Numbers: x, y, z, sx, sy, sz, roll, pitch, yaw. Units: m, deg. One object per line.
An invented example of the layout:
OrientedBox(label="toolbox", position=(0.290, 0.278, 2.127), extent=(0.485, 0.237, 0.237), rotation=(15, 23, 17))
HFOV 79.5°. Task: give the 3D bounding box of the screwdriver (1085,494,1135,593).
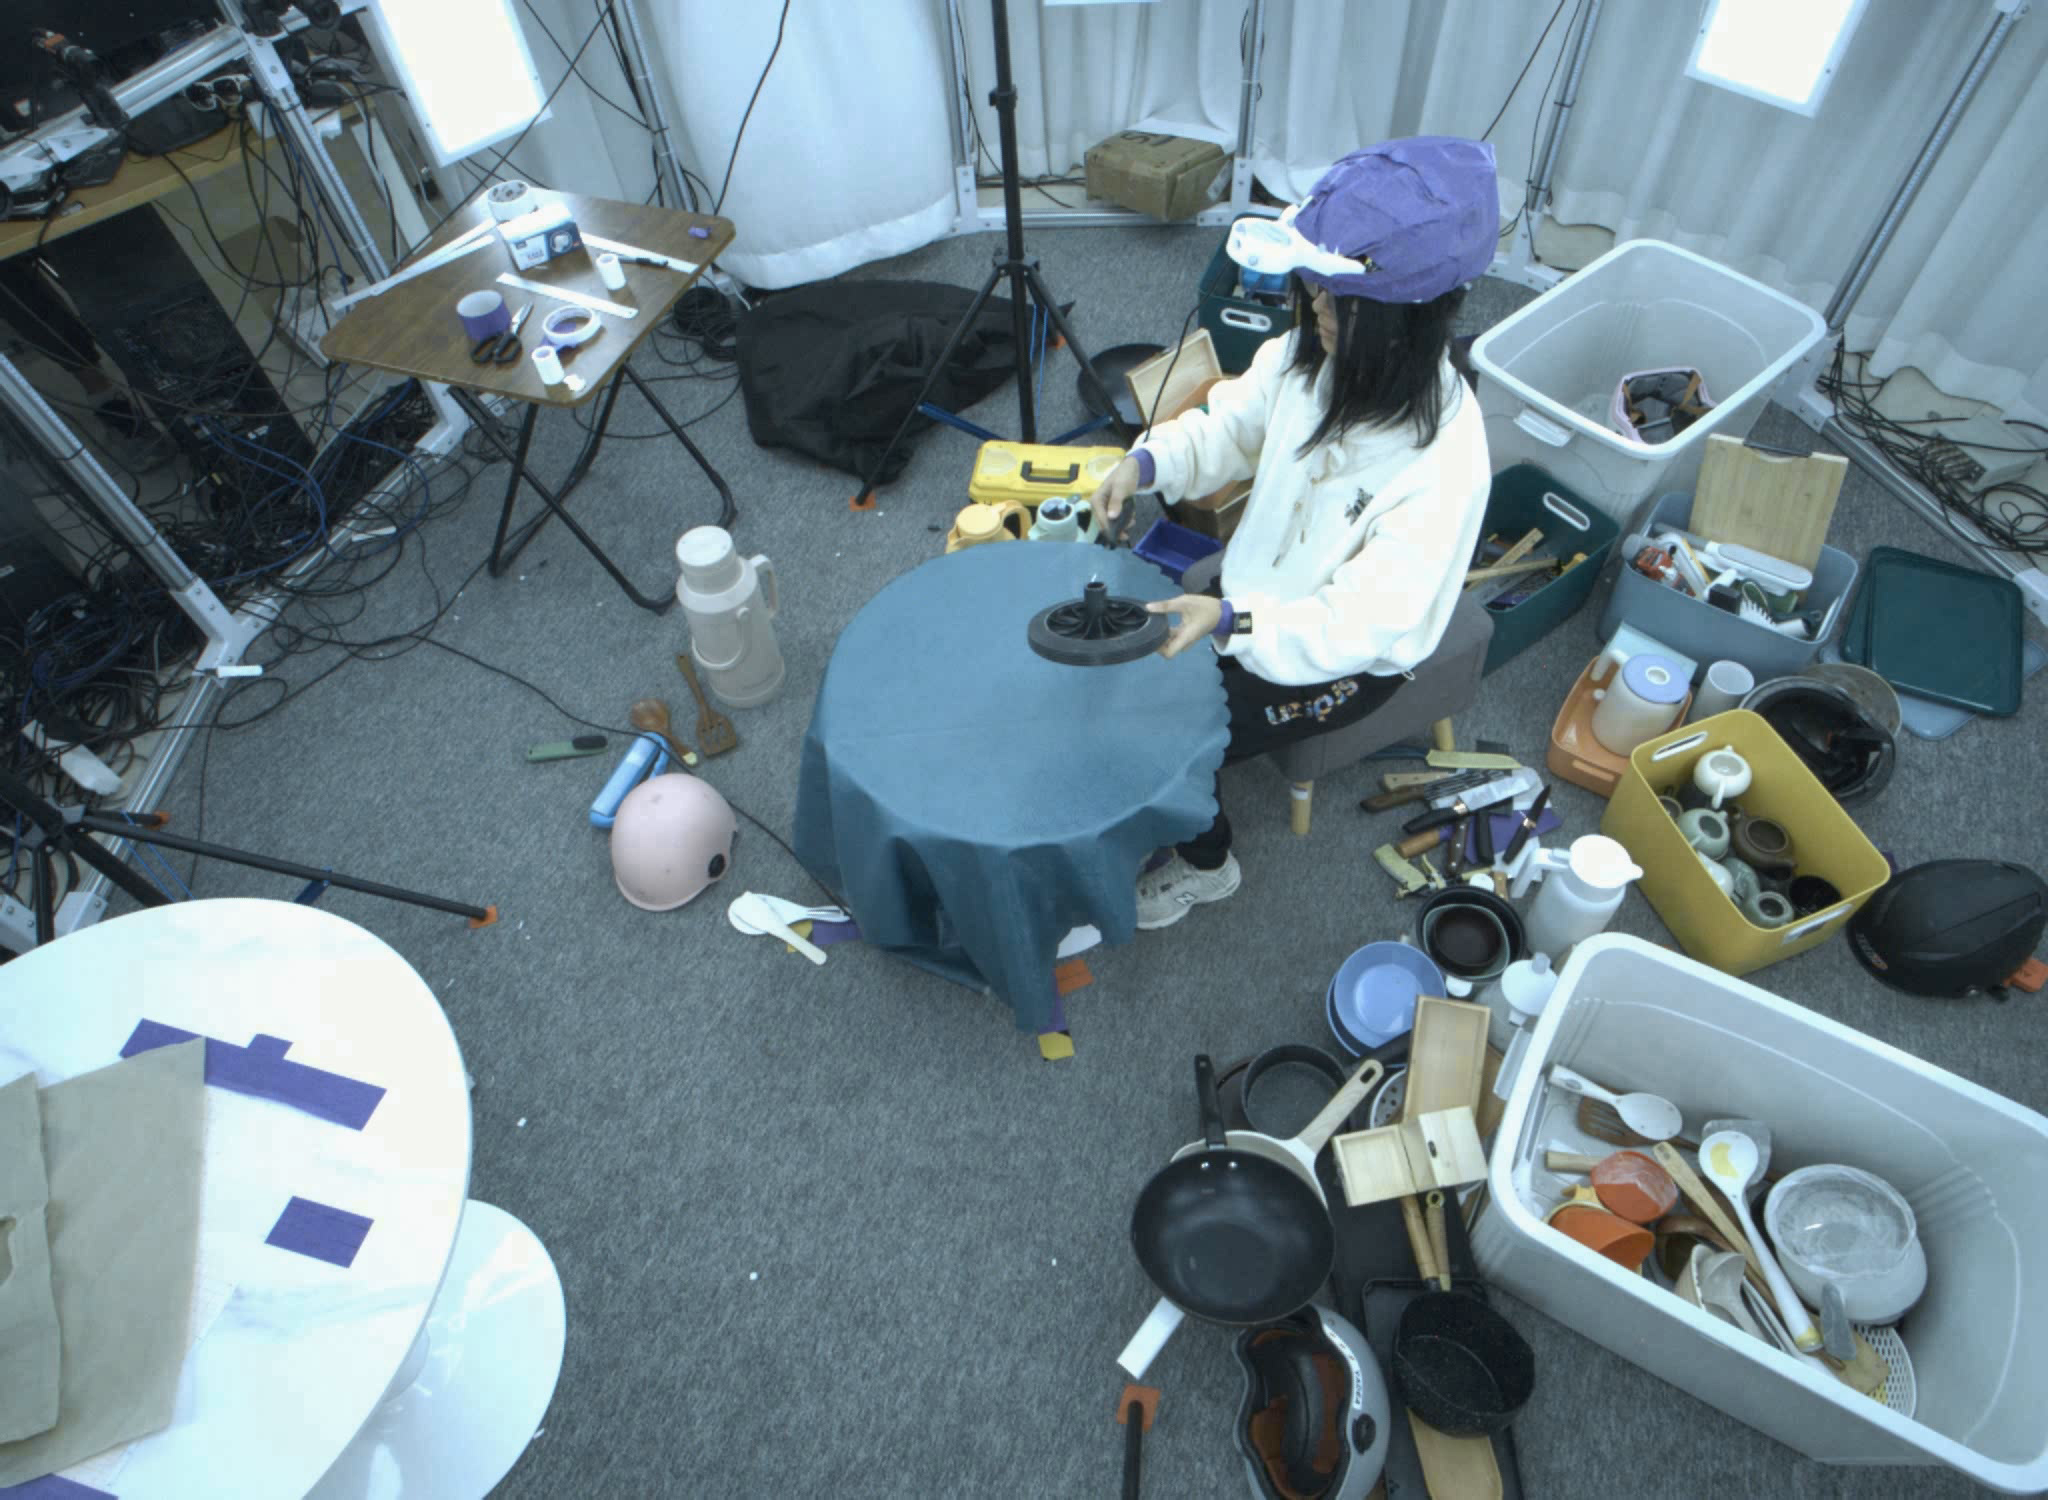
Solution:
OrientedBox(label="screwdriver", position=(0.115, -0.291, 1.737), extent=(0.031, 0.032, 0.196), rotation=(18, 59, 15))

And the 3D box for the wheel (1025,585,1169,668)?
OrientedBox(label="wheel", position=(0.093, -0.174, 1.618), extent=(0.187, 0.080, 0.187), rotation=(3, 30, 18))
